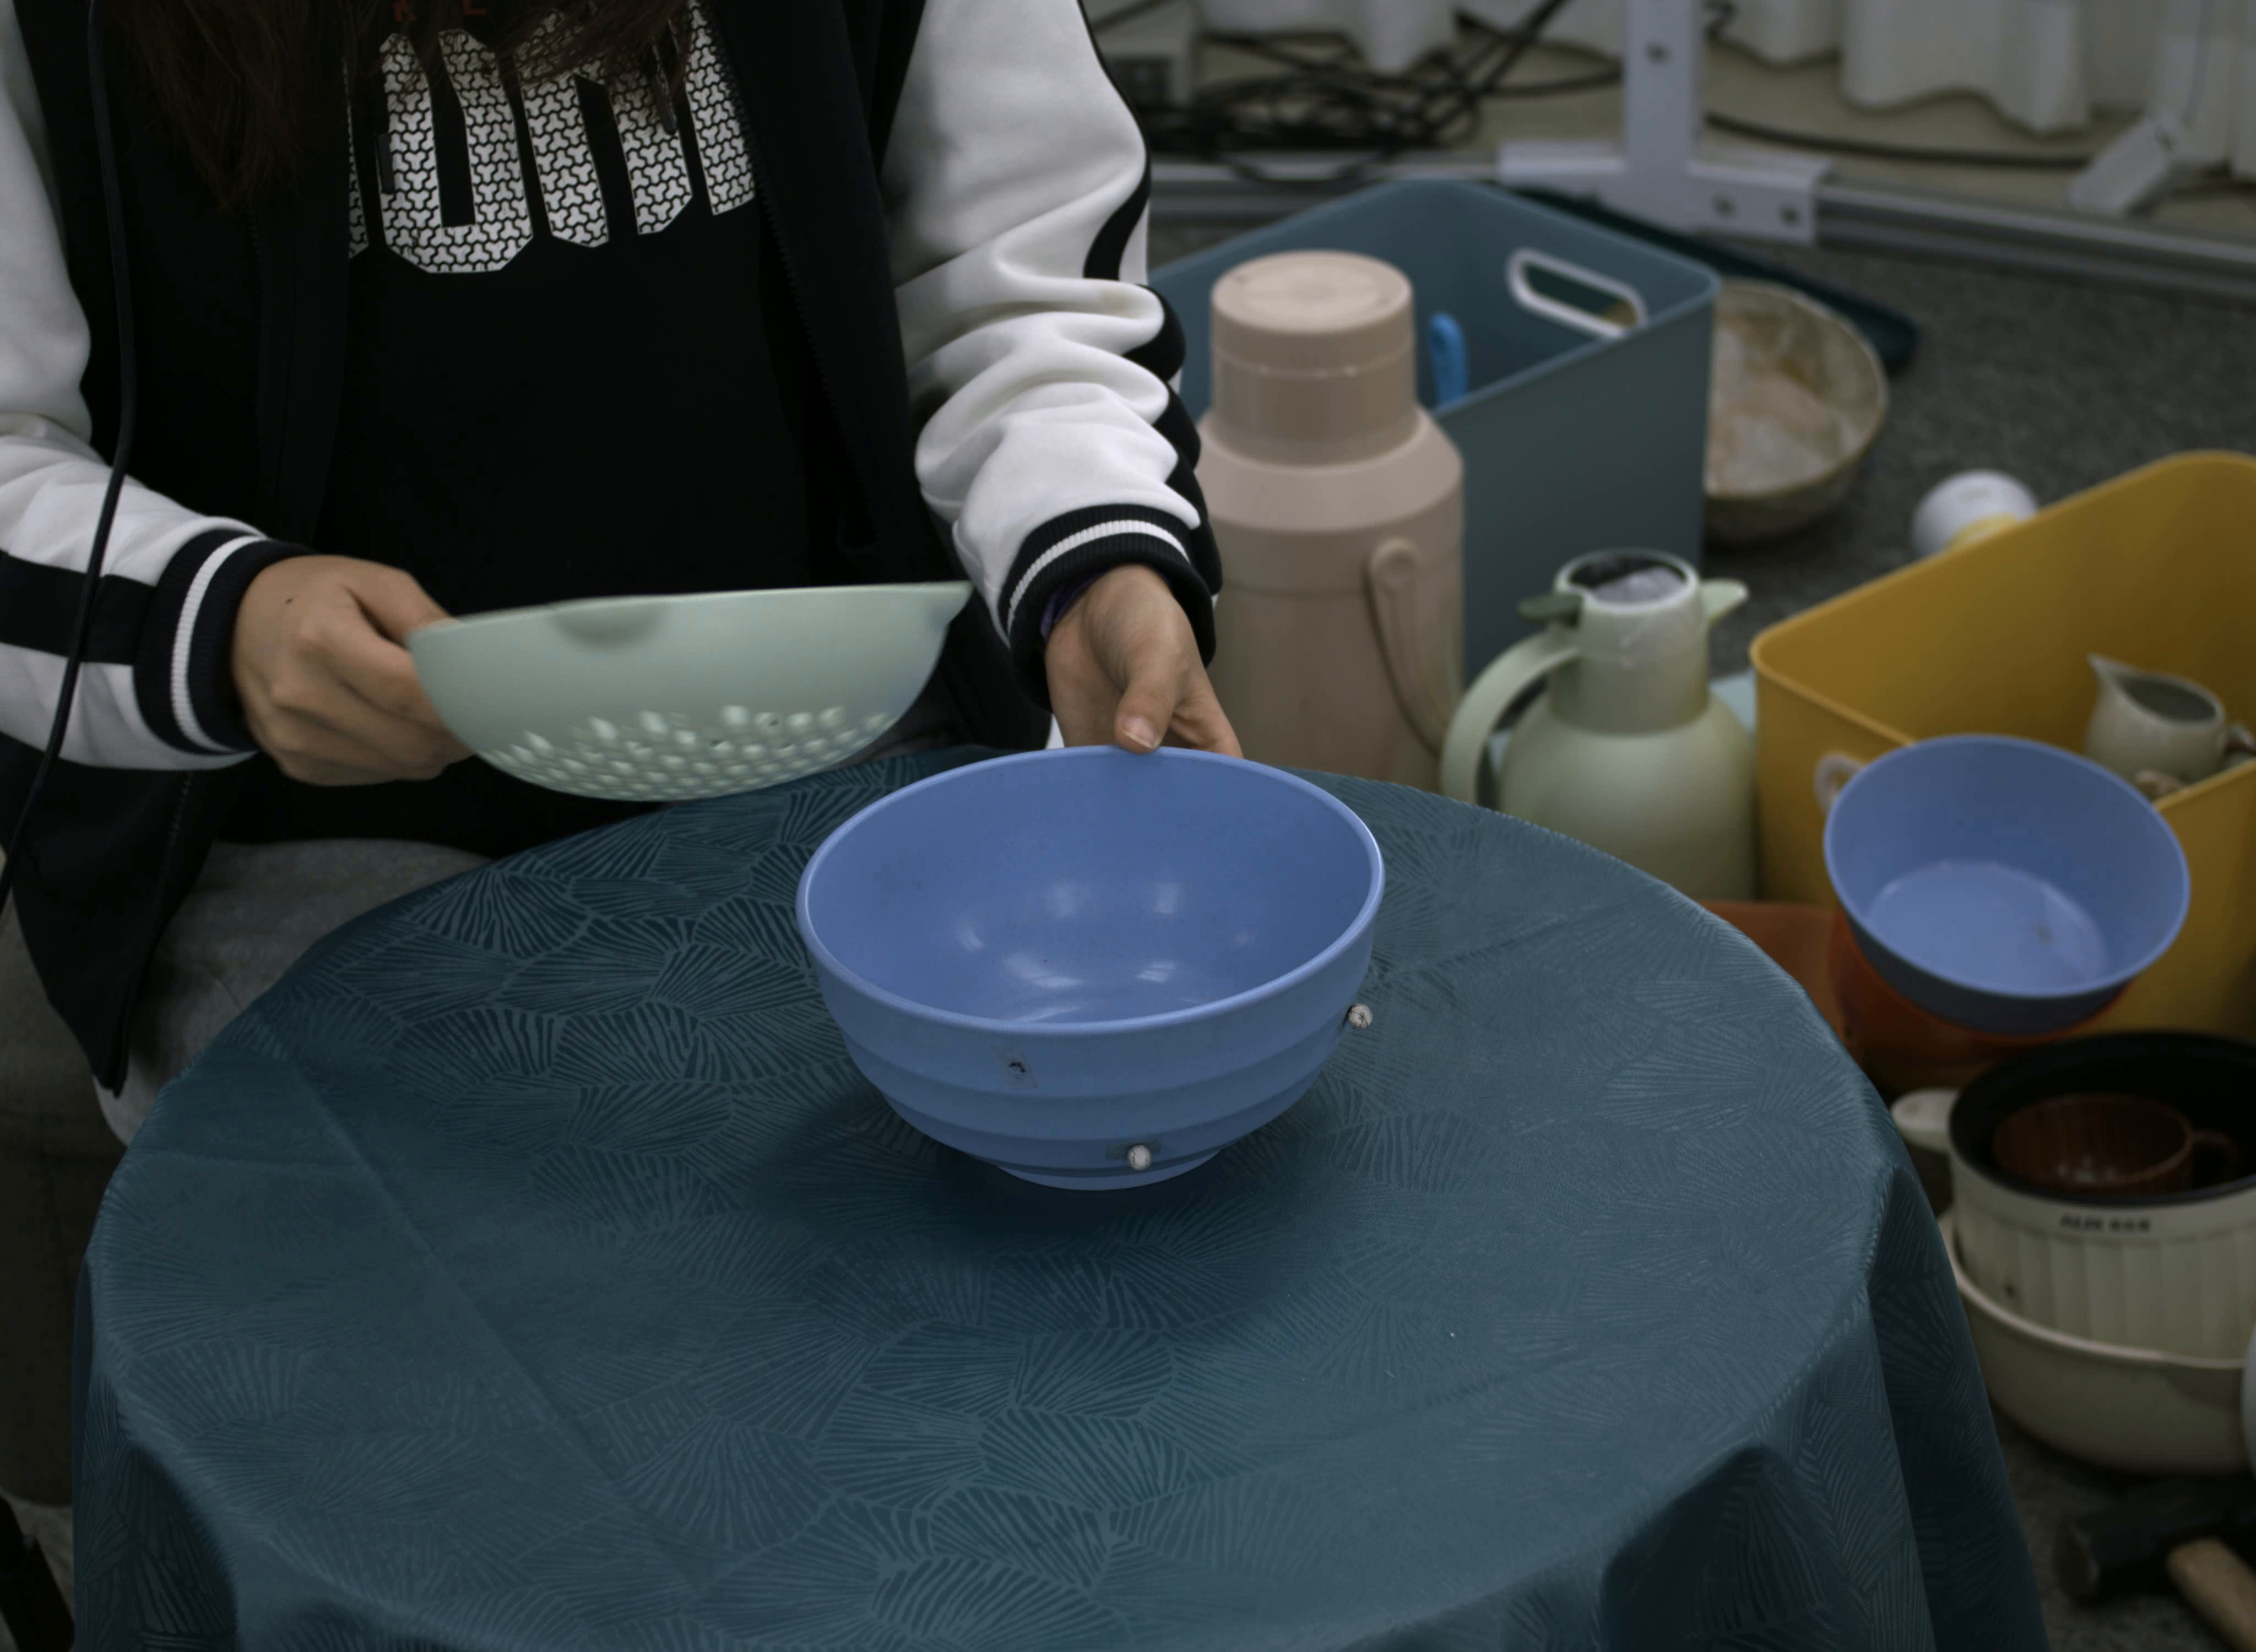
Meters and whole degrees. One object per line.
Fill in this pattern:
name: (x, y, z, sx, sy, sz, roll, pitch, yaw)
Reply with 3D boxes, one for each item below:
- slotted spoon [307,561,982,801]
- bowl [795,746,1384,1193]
slotted spoon: (-0.187, -0.045, 1.830, 0.170, 0.075, 0.356, -7, 6, -34)
bowl: (-0.010, 0.059, 1.881, 0.195, 0.094, 0.199, -3, 27, 2)
